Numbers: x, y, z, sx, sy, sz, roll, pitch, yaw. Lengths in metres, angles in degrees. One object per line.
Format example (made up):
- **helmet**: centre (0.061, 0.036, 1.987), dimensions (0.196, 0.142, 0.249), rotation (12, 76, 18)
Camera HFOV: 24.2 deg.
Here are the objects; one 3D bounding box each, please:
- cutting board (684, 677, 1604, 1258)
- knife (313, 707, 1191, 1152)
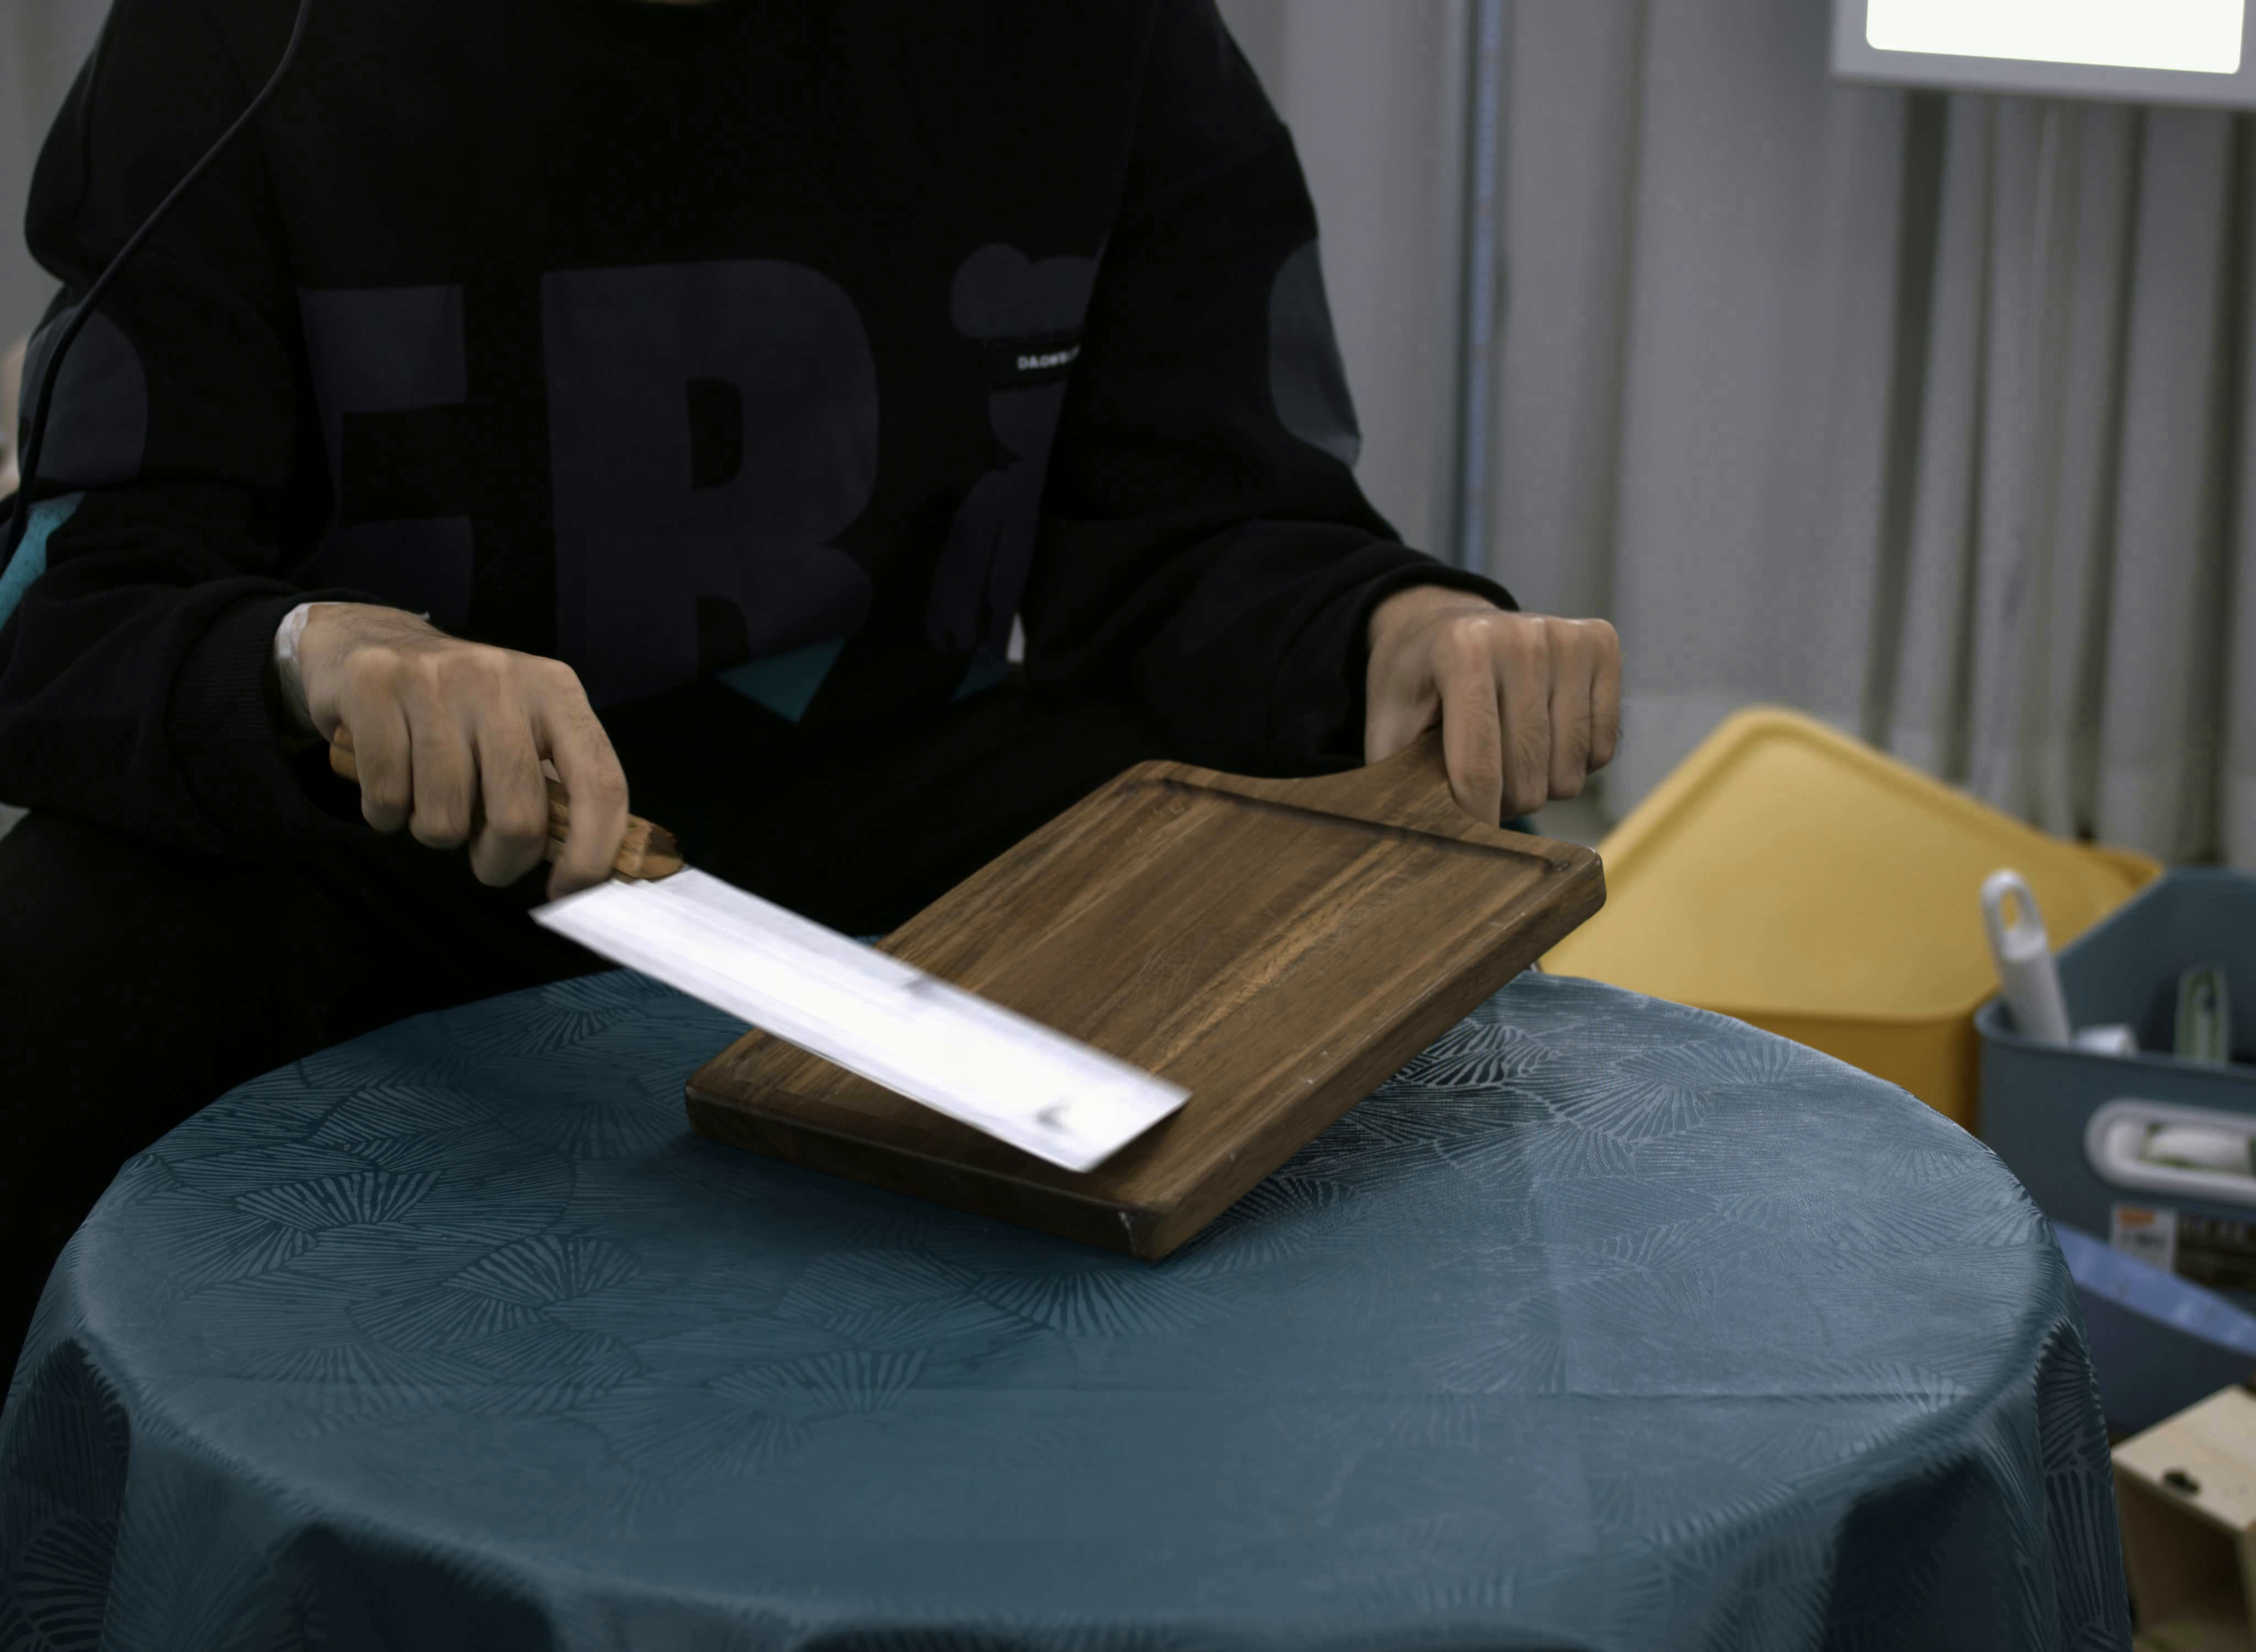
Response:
- **cutting board**: centre (0.037, 0.032, 1.726), dimensions (0.198, 0.023, 0.352), rotation (12, 33, 36)
- **knife**: centre (-0.127, 0.034, 1.617), dimensions (0.303, 0.021, 0.093), rotation (23, 22, 13)
